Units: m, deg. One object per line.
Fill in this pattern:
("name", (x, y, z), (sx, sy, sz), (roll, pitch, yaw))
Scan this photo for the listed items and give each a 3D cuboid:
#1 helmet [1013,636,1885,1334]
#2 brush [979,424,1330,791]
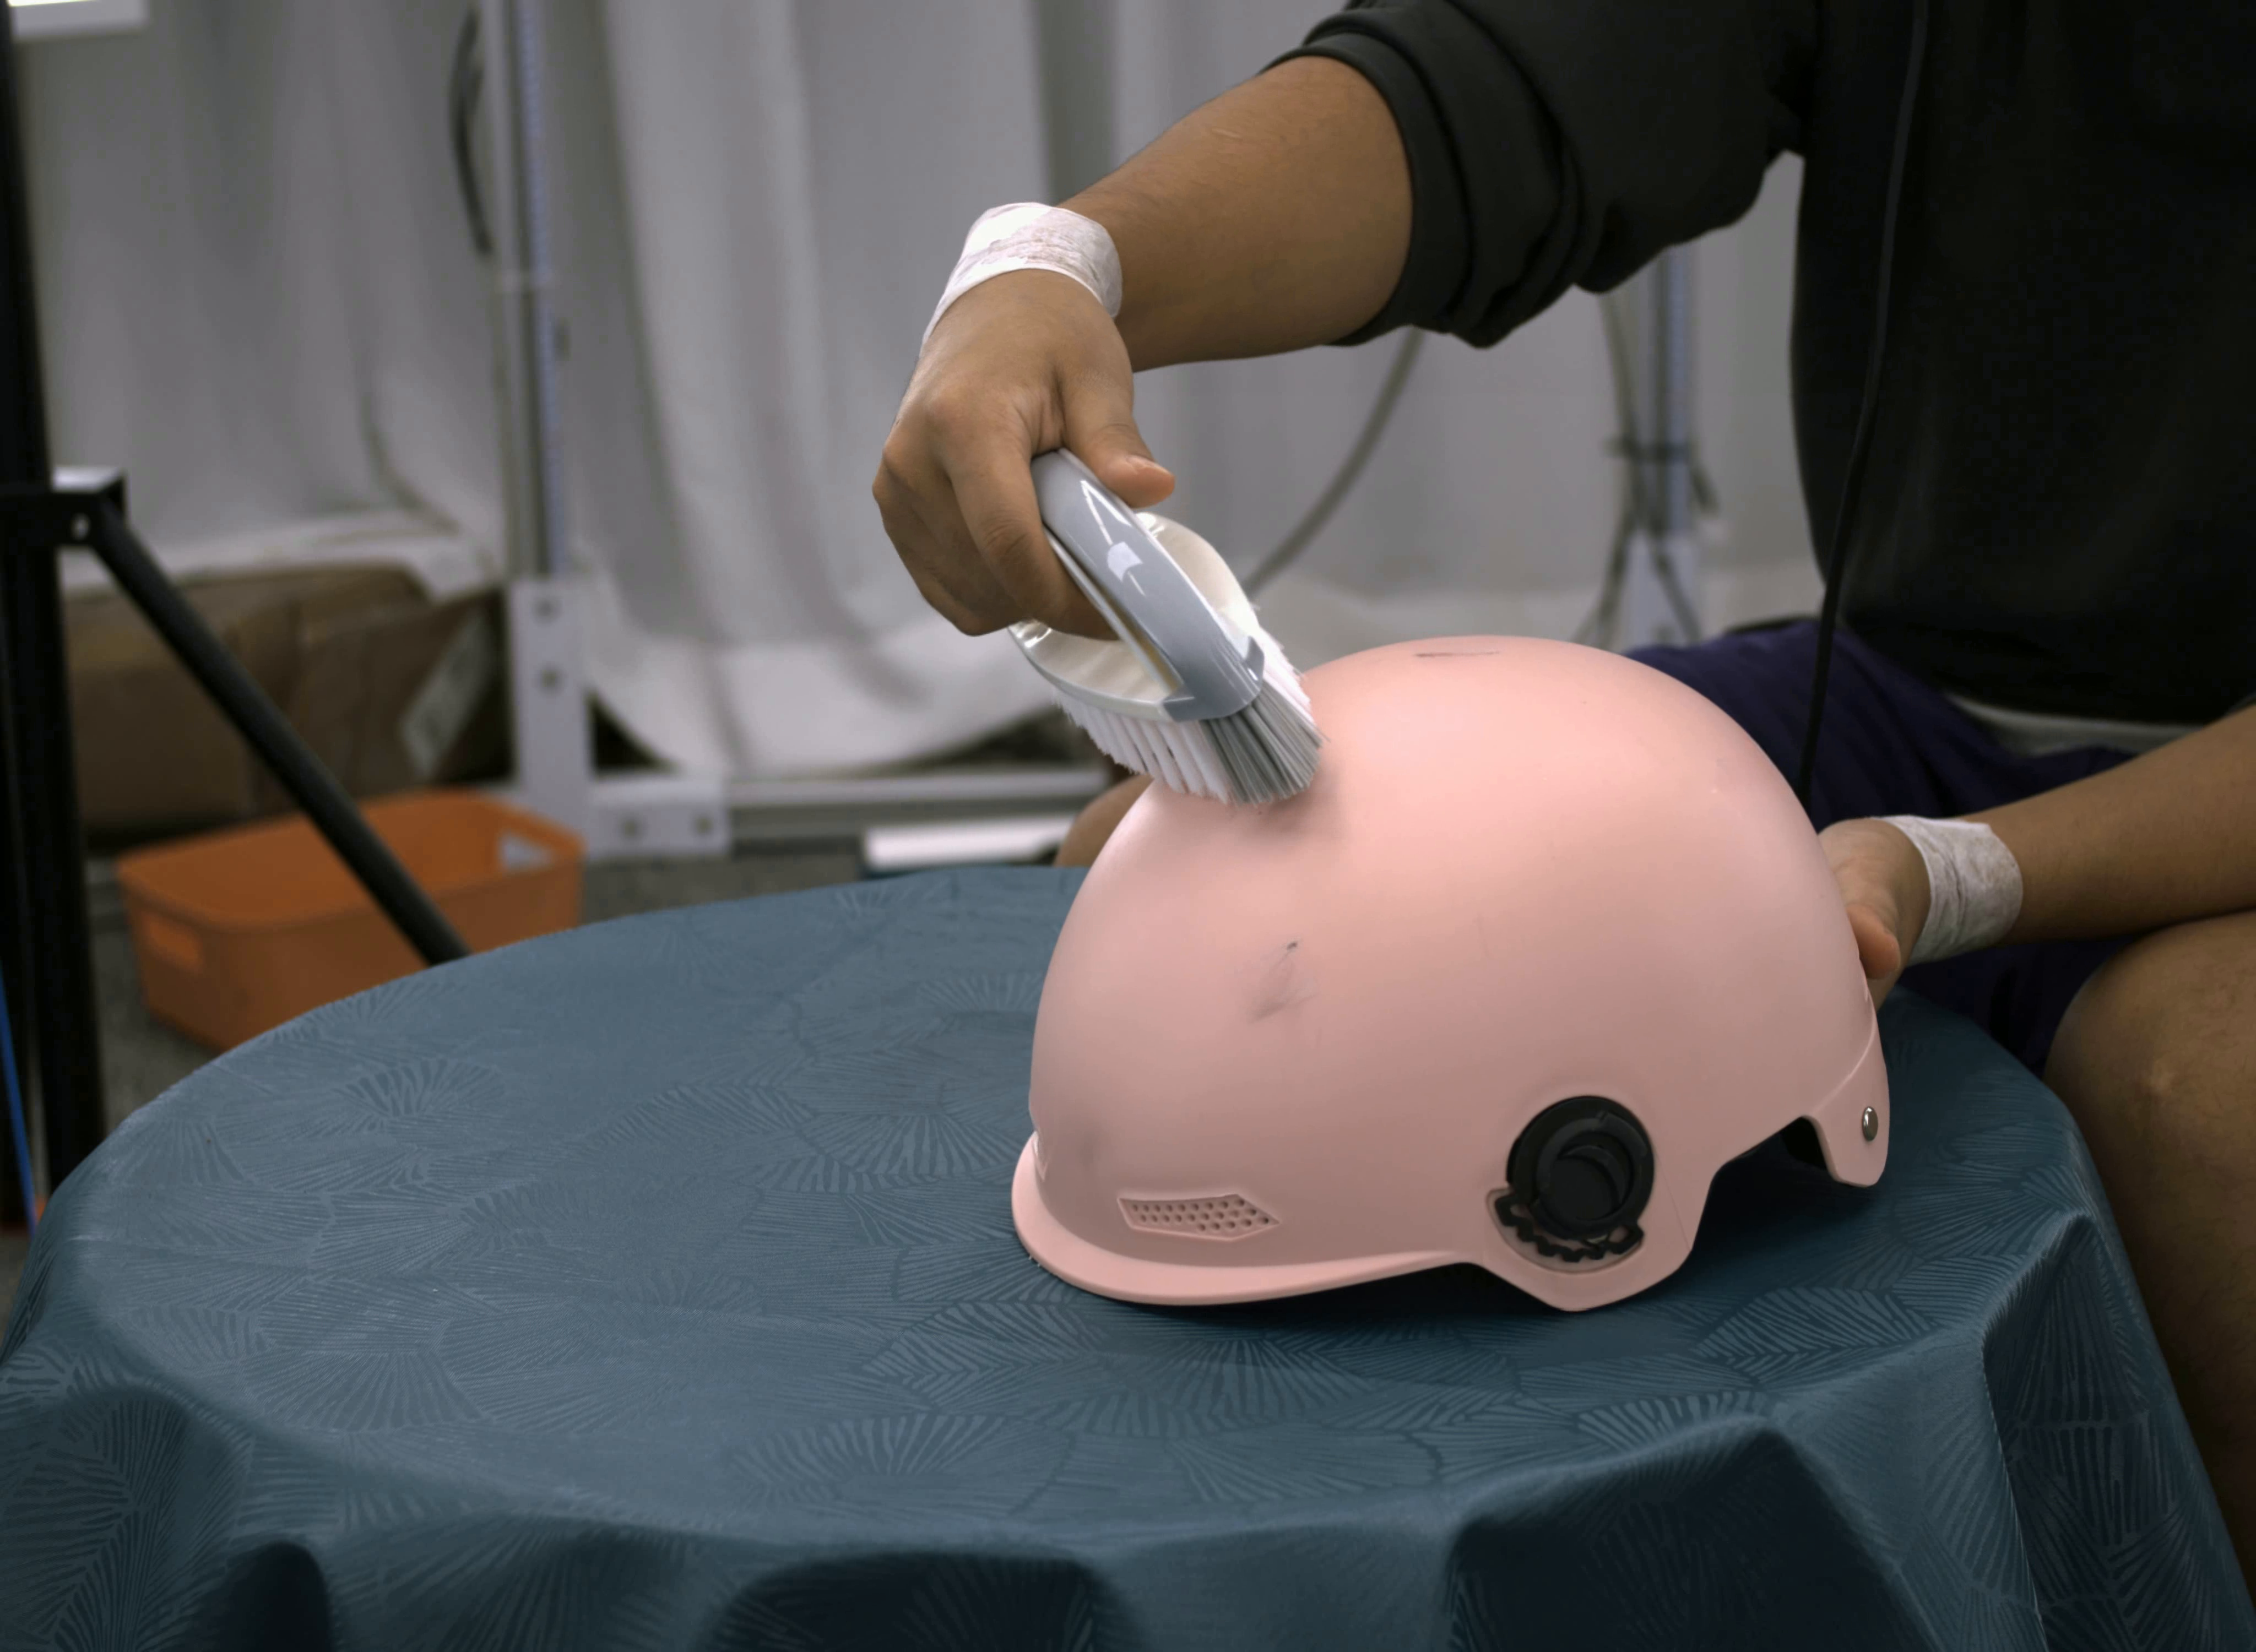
("helmet", (0.085, 0.034, 1.528), (0.261, 0.158, 0.239), (-19, 22, -26))
("brush", (0.004, -0.067, 1.519), (0.061, 0.093, 0.178), (-39, 24, -3))
